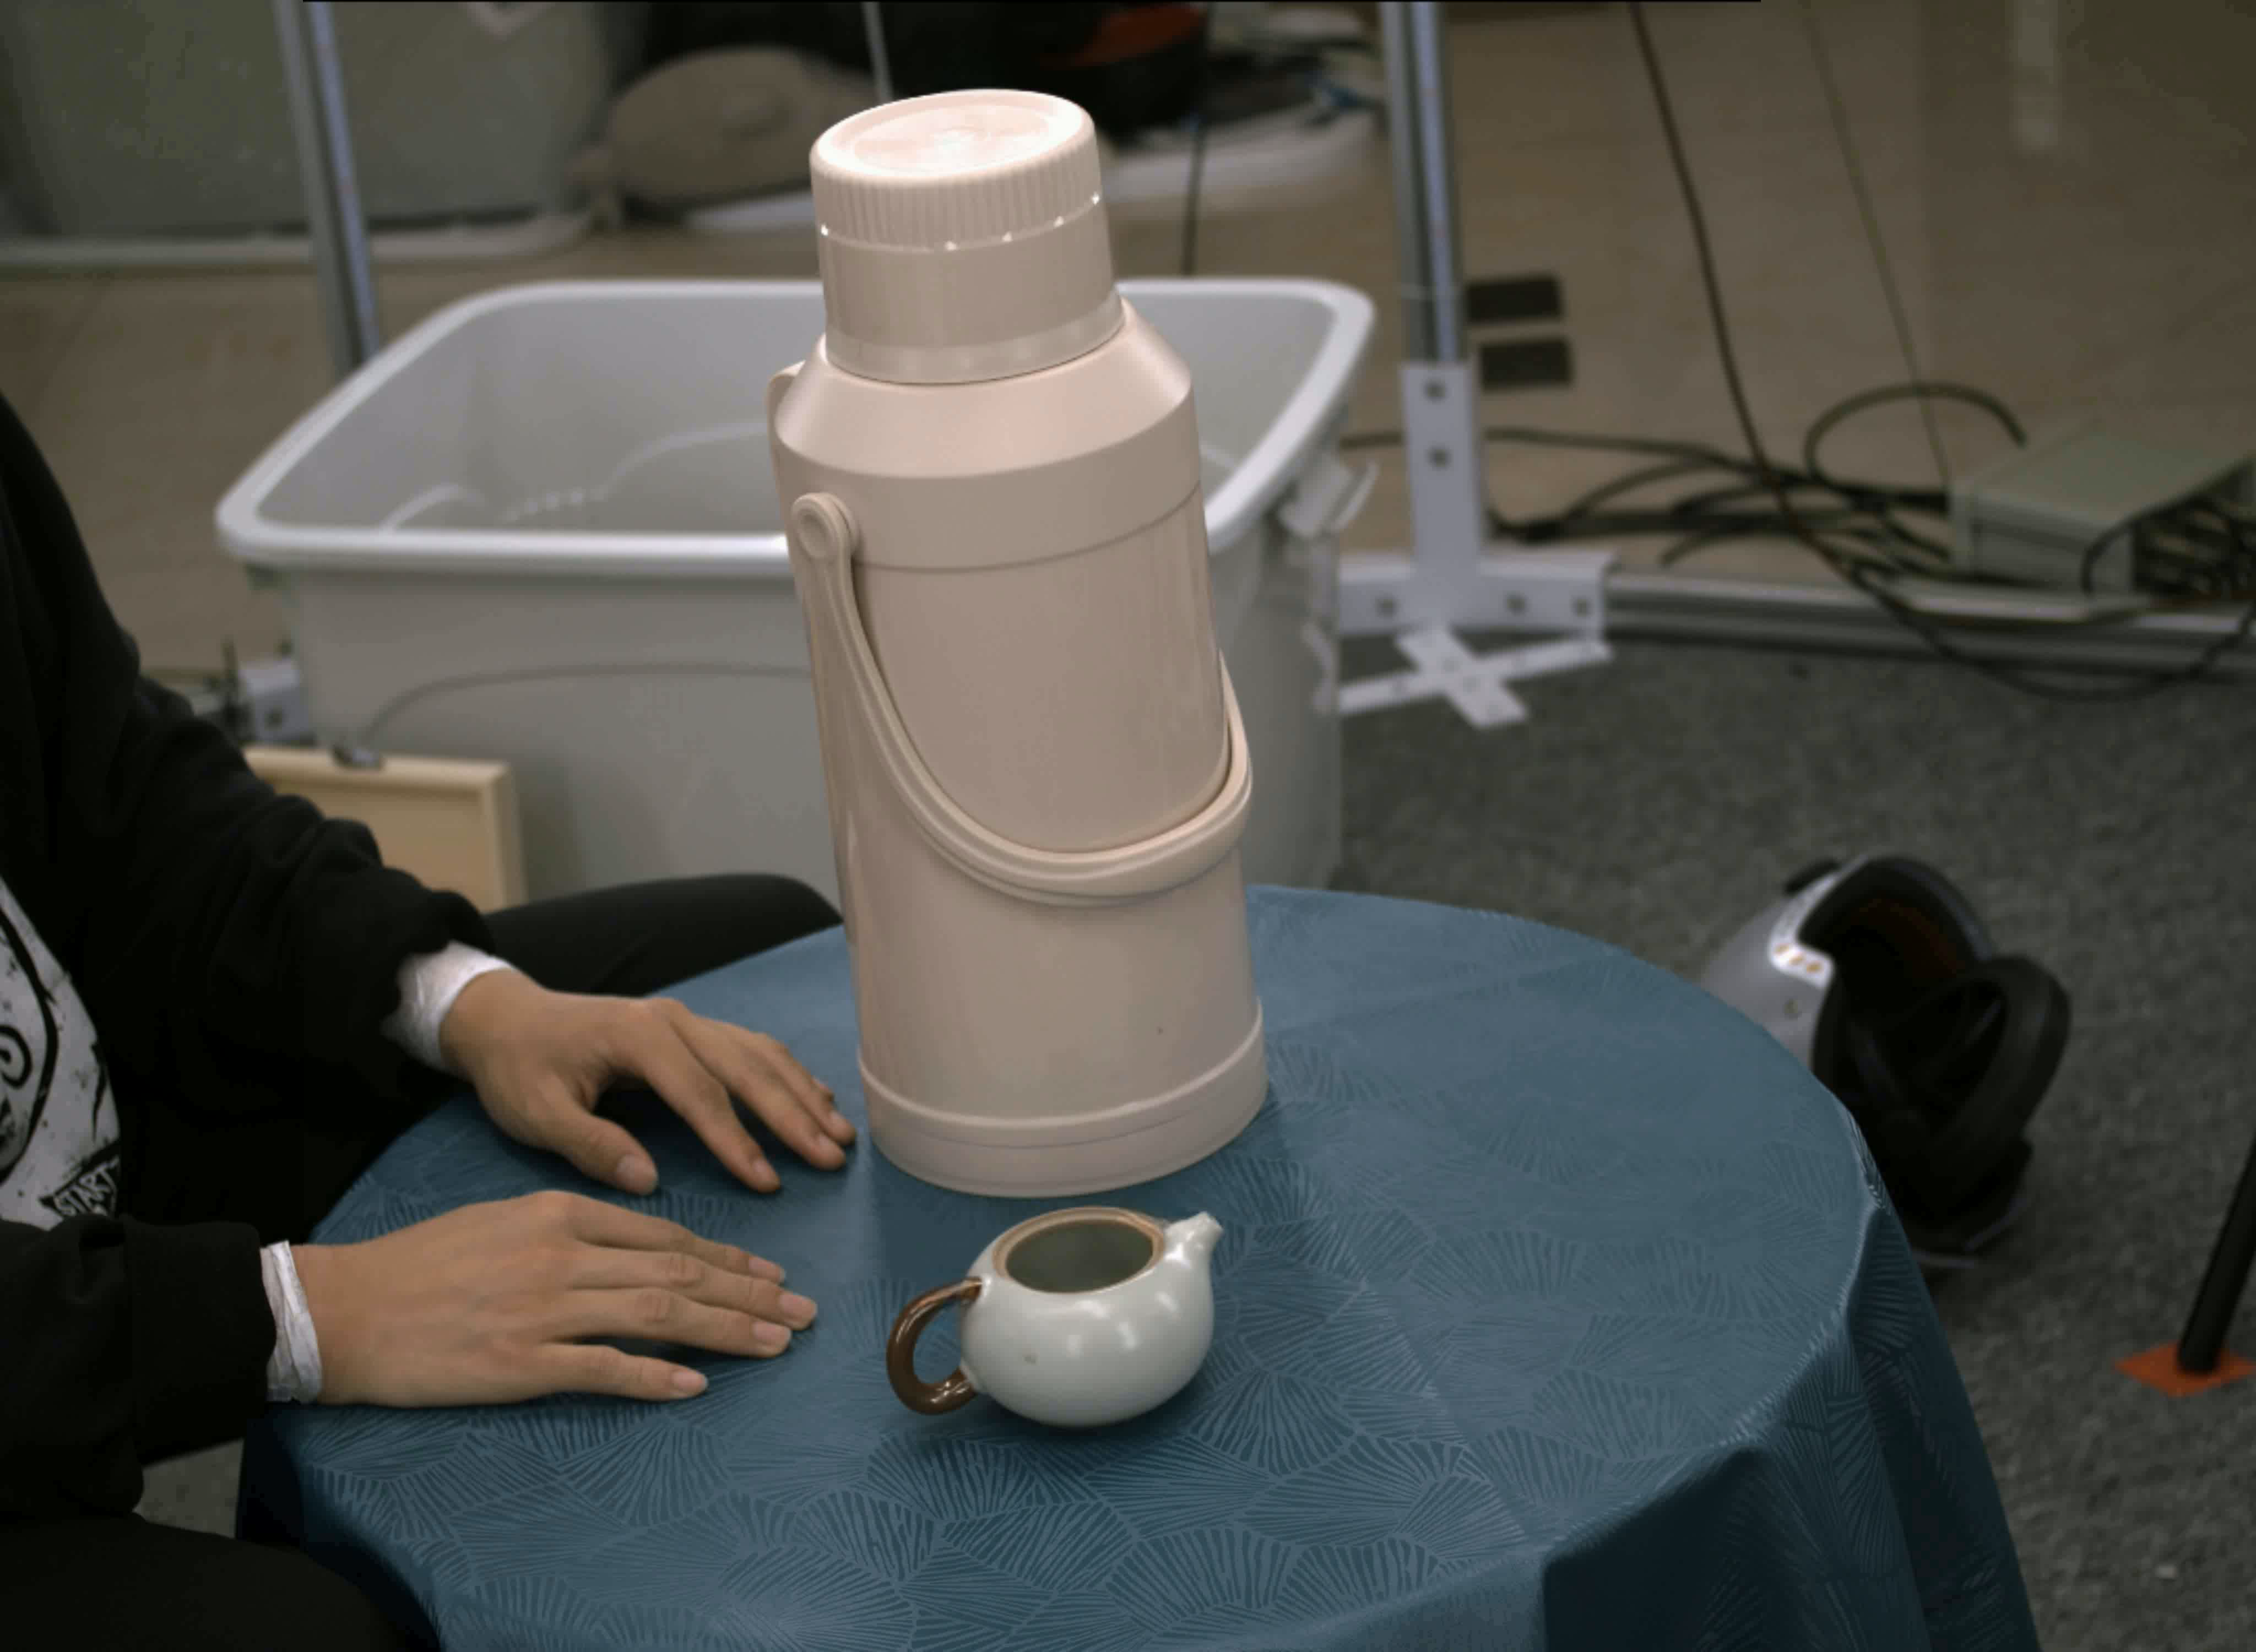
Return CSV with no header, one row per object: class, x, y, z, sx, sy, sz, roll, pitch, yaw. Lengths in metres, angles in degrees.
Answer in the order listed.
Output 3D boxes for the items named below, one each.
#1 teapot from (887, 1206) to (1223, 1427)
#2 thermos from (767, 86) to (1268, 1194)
teapot,-0.024,0.176,2.006,0.127,0.060,0.090,-13,29,-17
thermos,-0.052,-0.075,2.145,0.174,0.413,0.205,-29,35,-36
